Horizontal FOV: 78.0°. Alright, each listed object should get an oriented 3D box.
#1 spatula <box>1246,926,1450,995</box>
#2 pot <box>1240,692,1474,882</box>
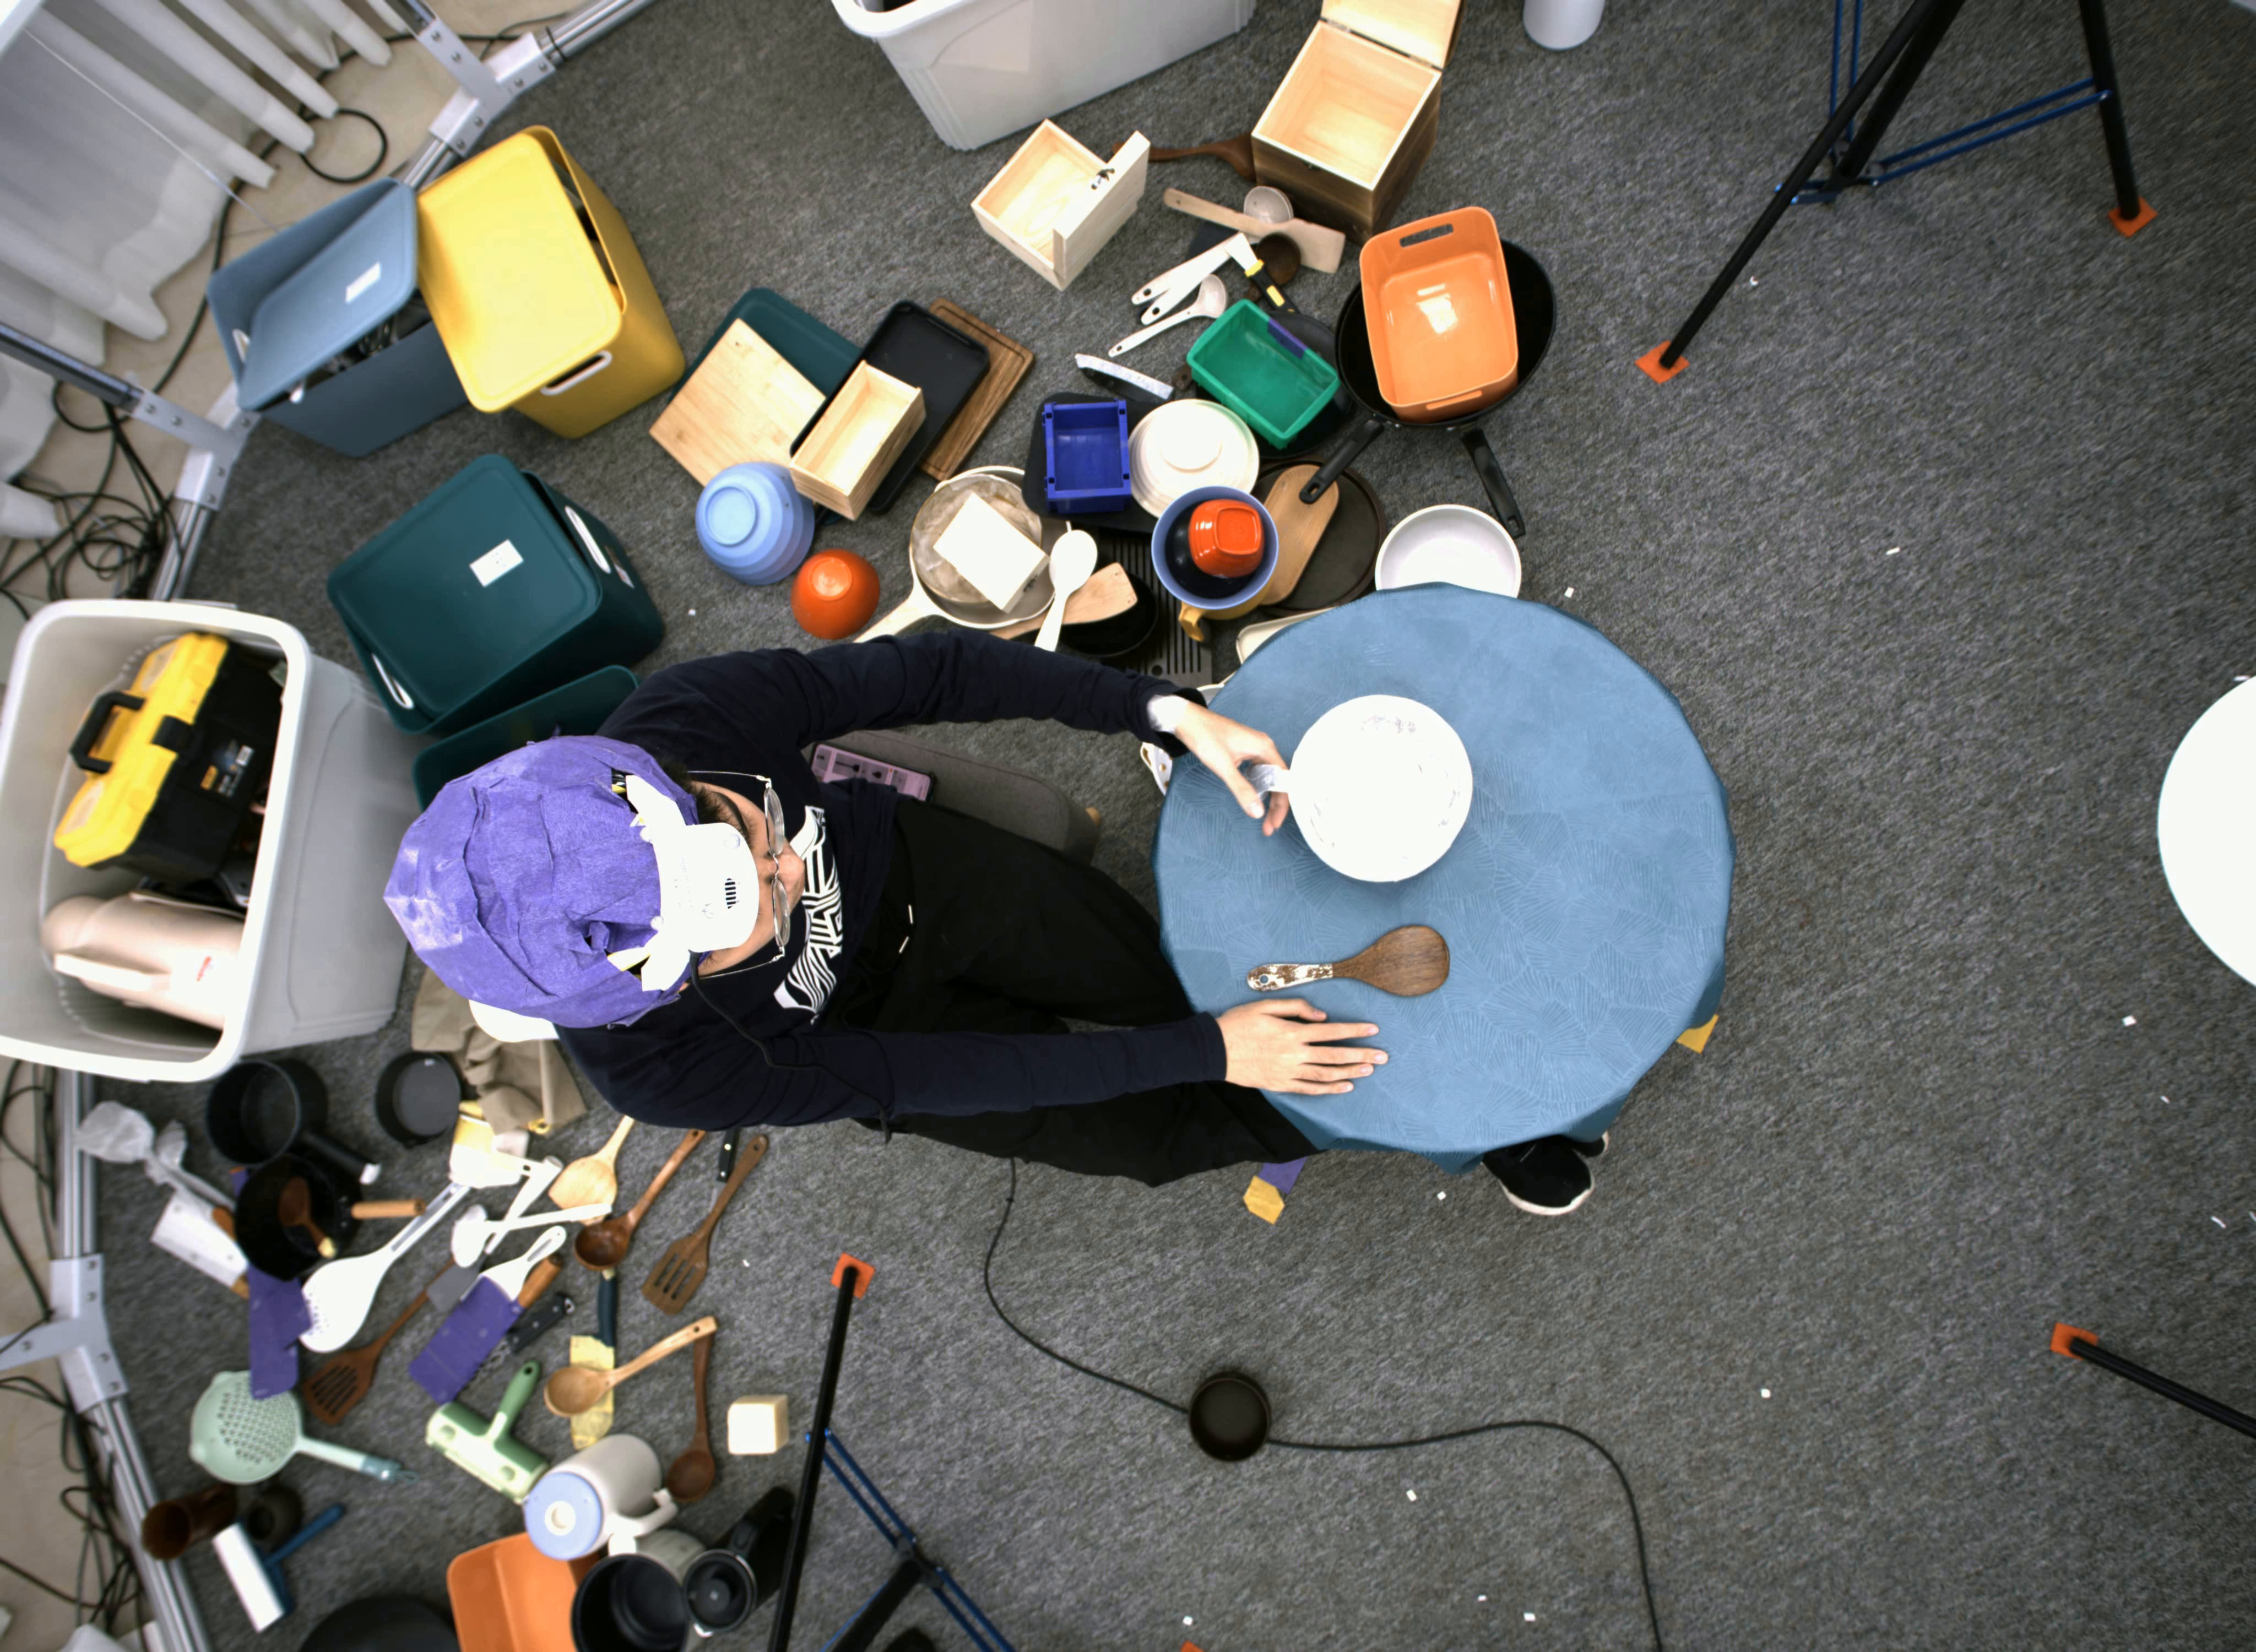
[{"bbox_3d":[0.231,0.148,1.461,0.217,0.009,0.071,-8,84,11],"label":"spatula"},{"bbox_3d":[0.228,-0.037,1.403,0.234,0.137,0.177,4,84,9],"label":"pot"}]
